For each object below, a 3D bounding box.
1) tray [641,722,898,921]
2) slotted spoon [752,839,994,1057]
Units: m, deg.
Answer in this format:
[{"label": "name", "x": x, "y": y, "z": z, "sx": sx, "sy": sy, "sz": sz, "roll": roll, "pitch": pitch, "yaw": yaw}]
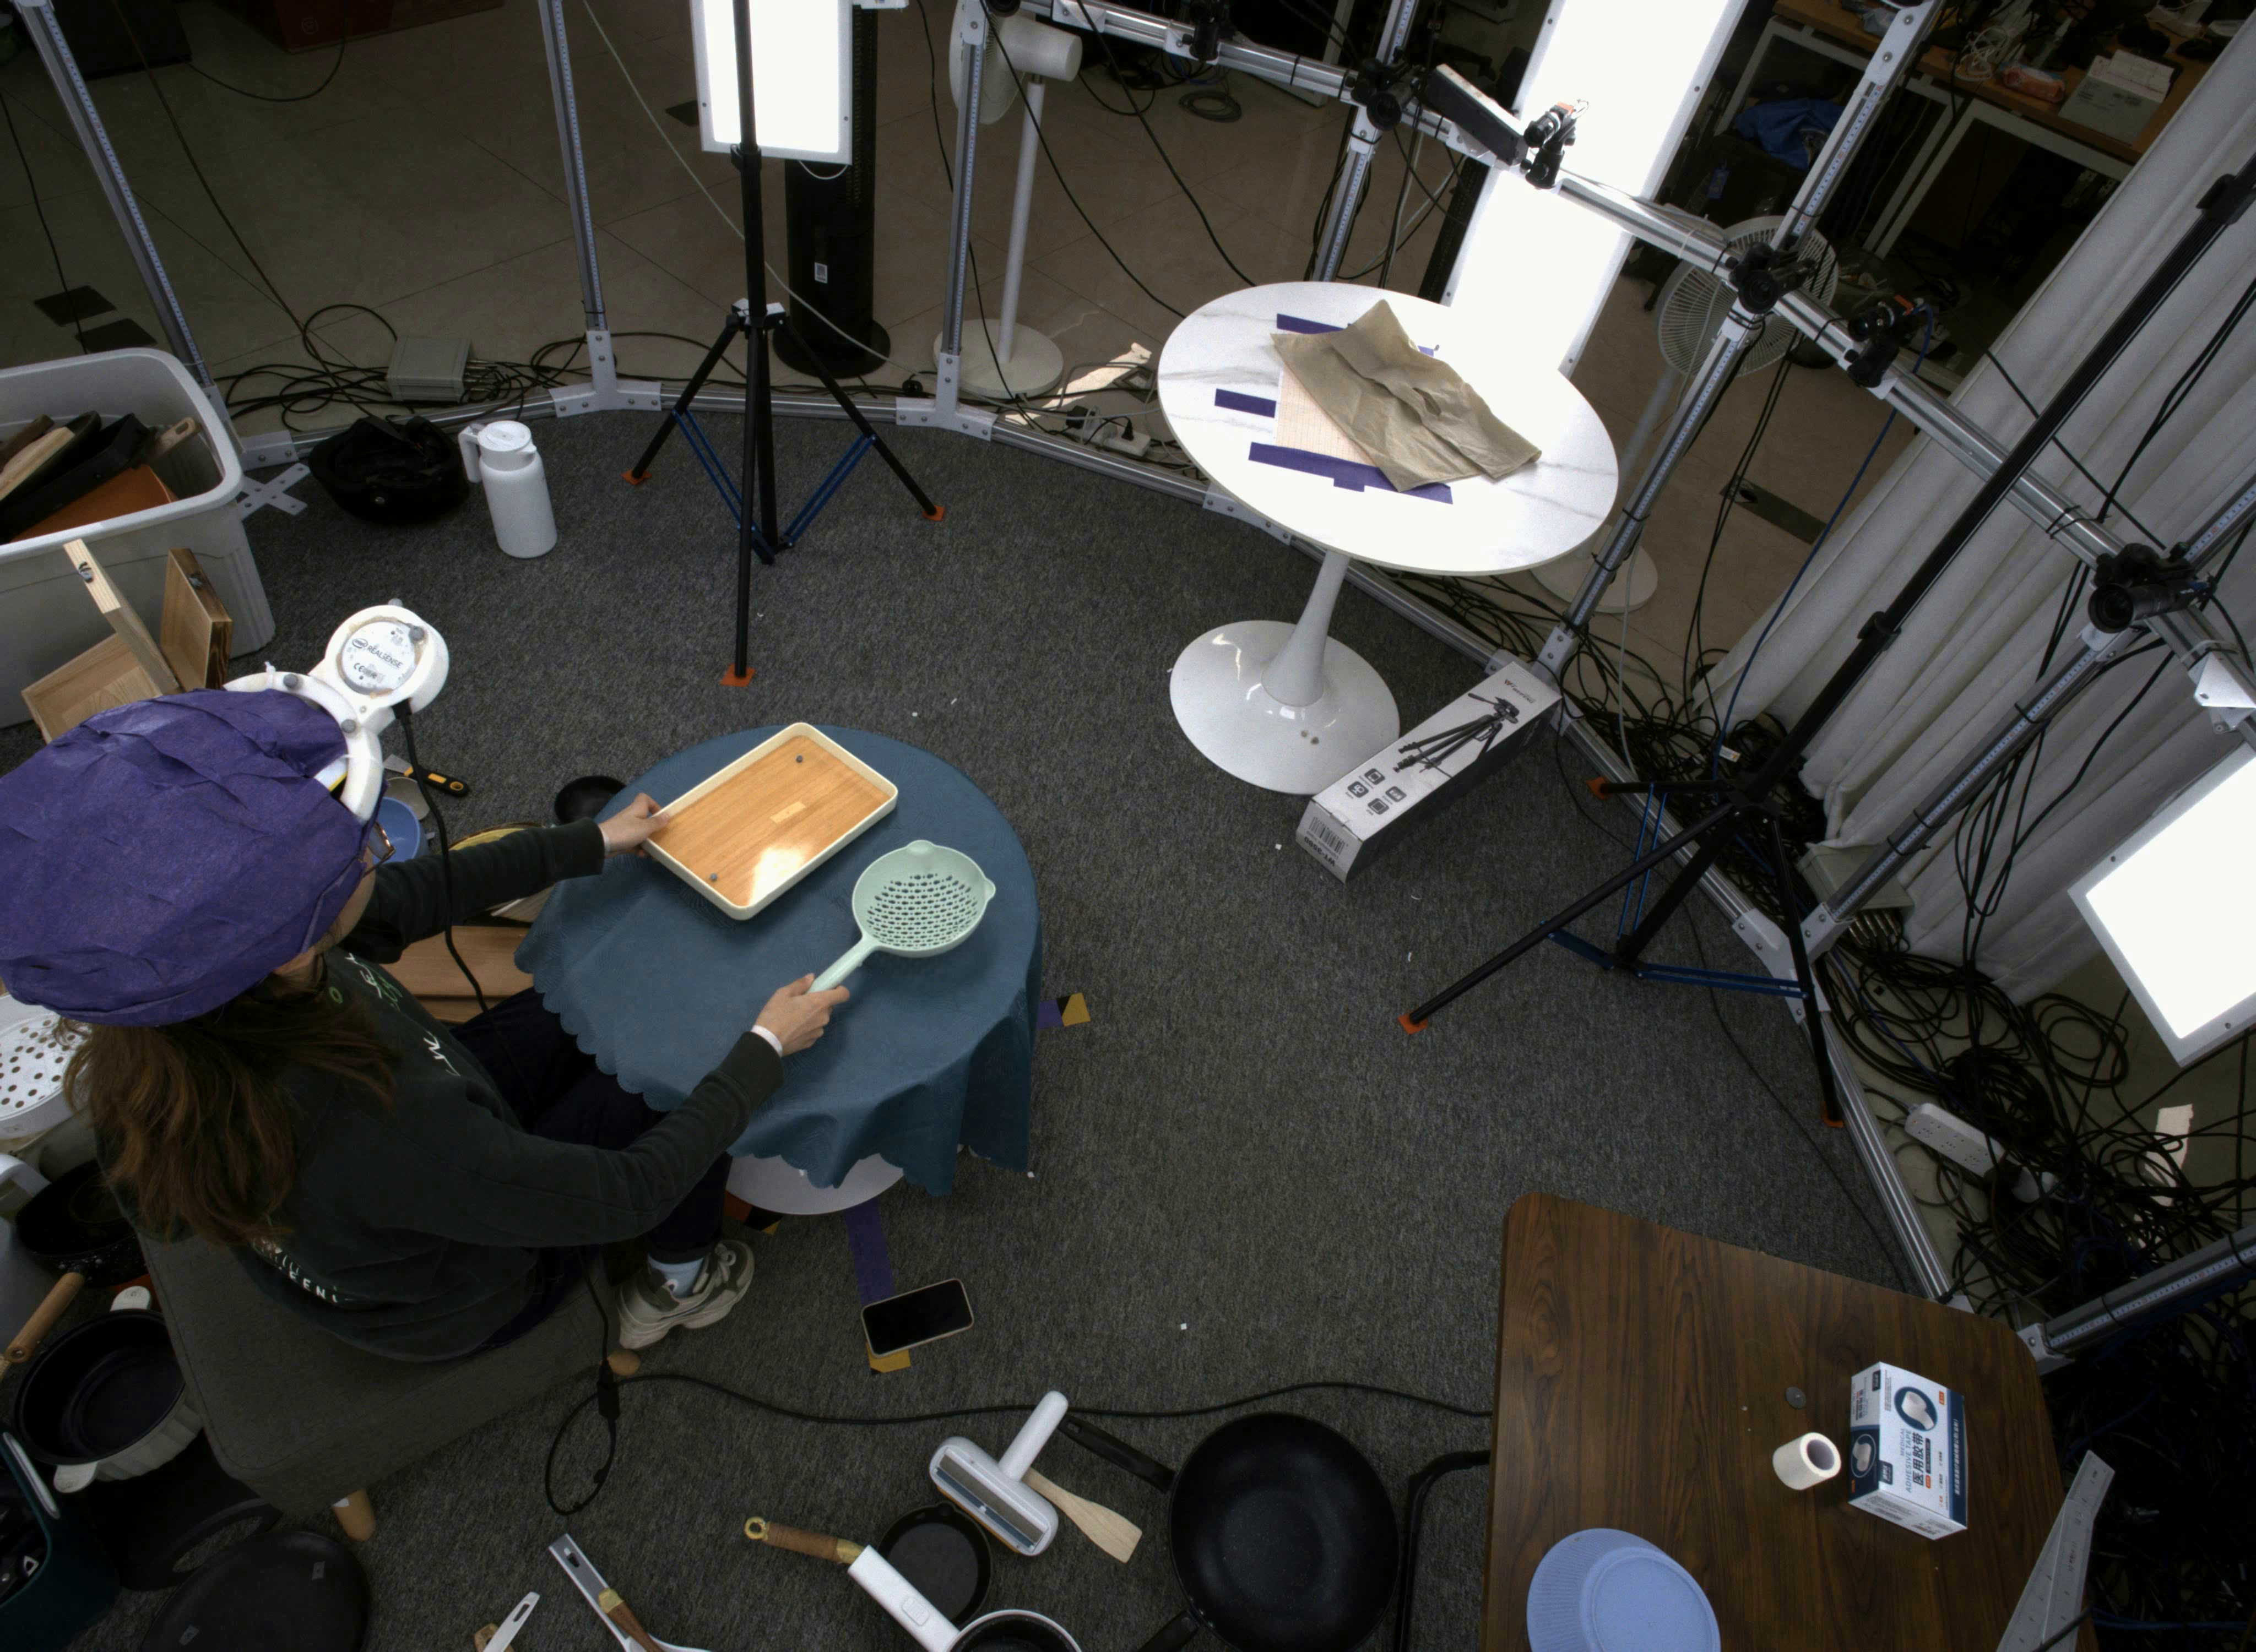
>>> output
[{"label": "tray", "x": -0.465, "y": -0.014, "z": 1.694, "sx": 0.188, "sy": 0.028, "sz": 0.300, "roll": 35, "pitch": 47, "yaw": 13}, {"label": "slotted spoon", "x": -0.319, "y": 0.150, "z": 1.584, "sx": 0.164, "sy": 0.077, "sz": 0.359, "roll": 31, "pitch": 45, "yaw": 21}]
